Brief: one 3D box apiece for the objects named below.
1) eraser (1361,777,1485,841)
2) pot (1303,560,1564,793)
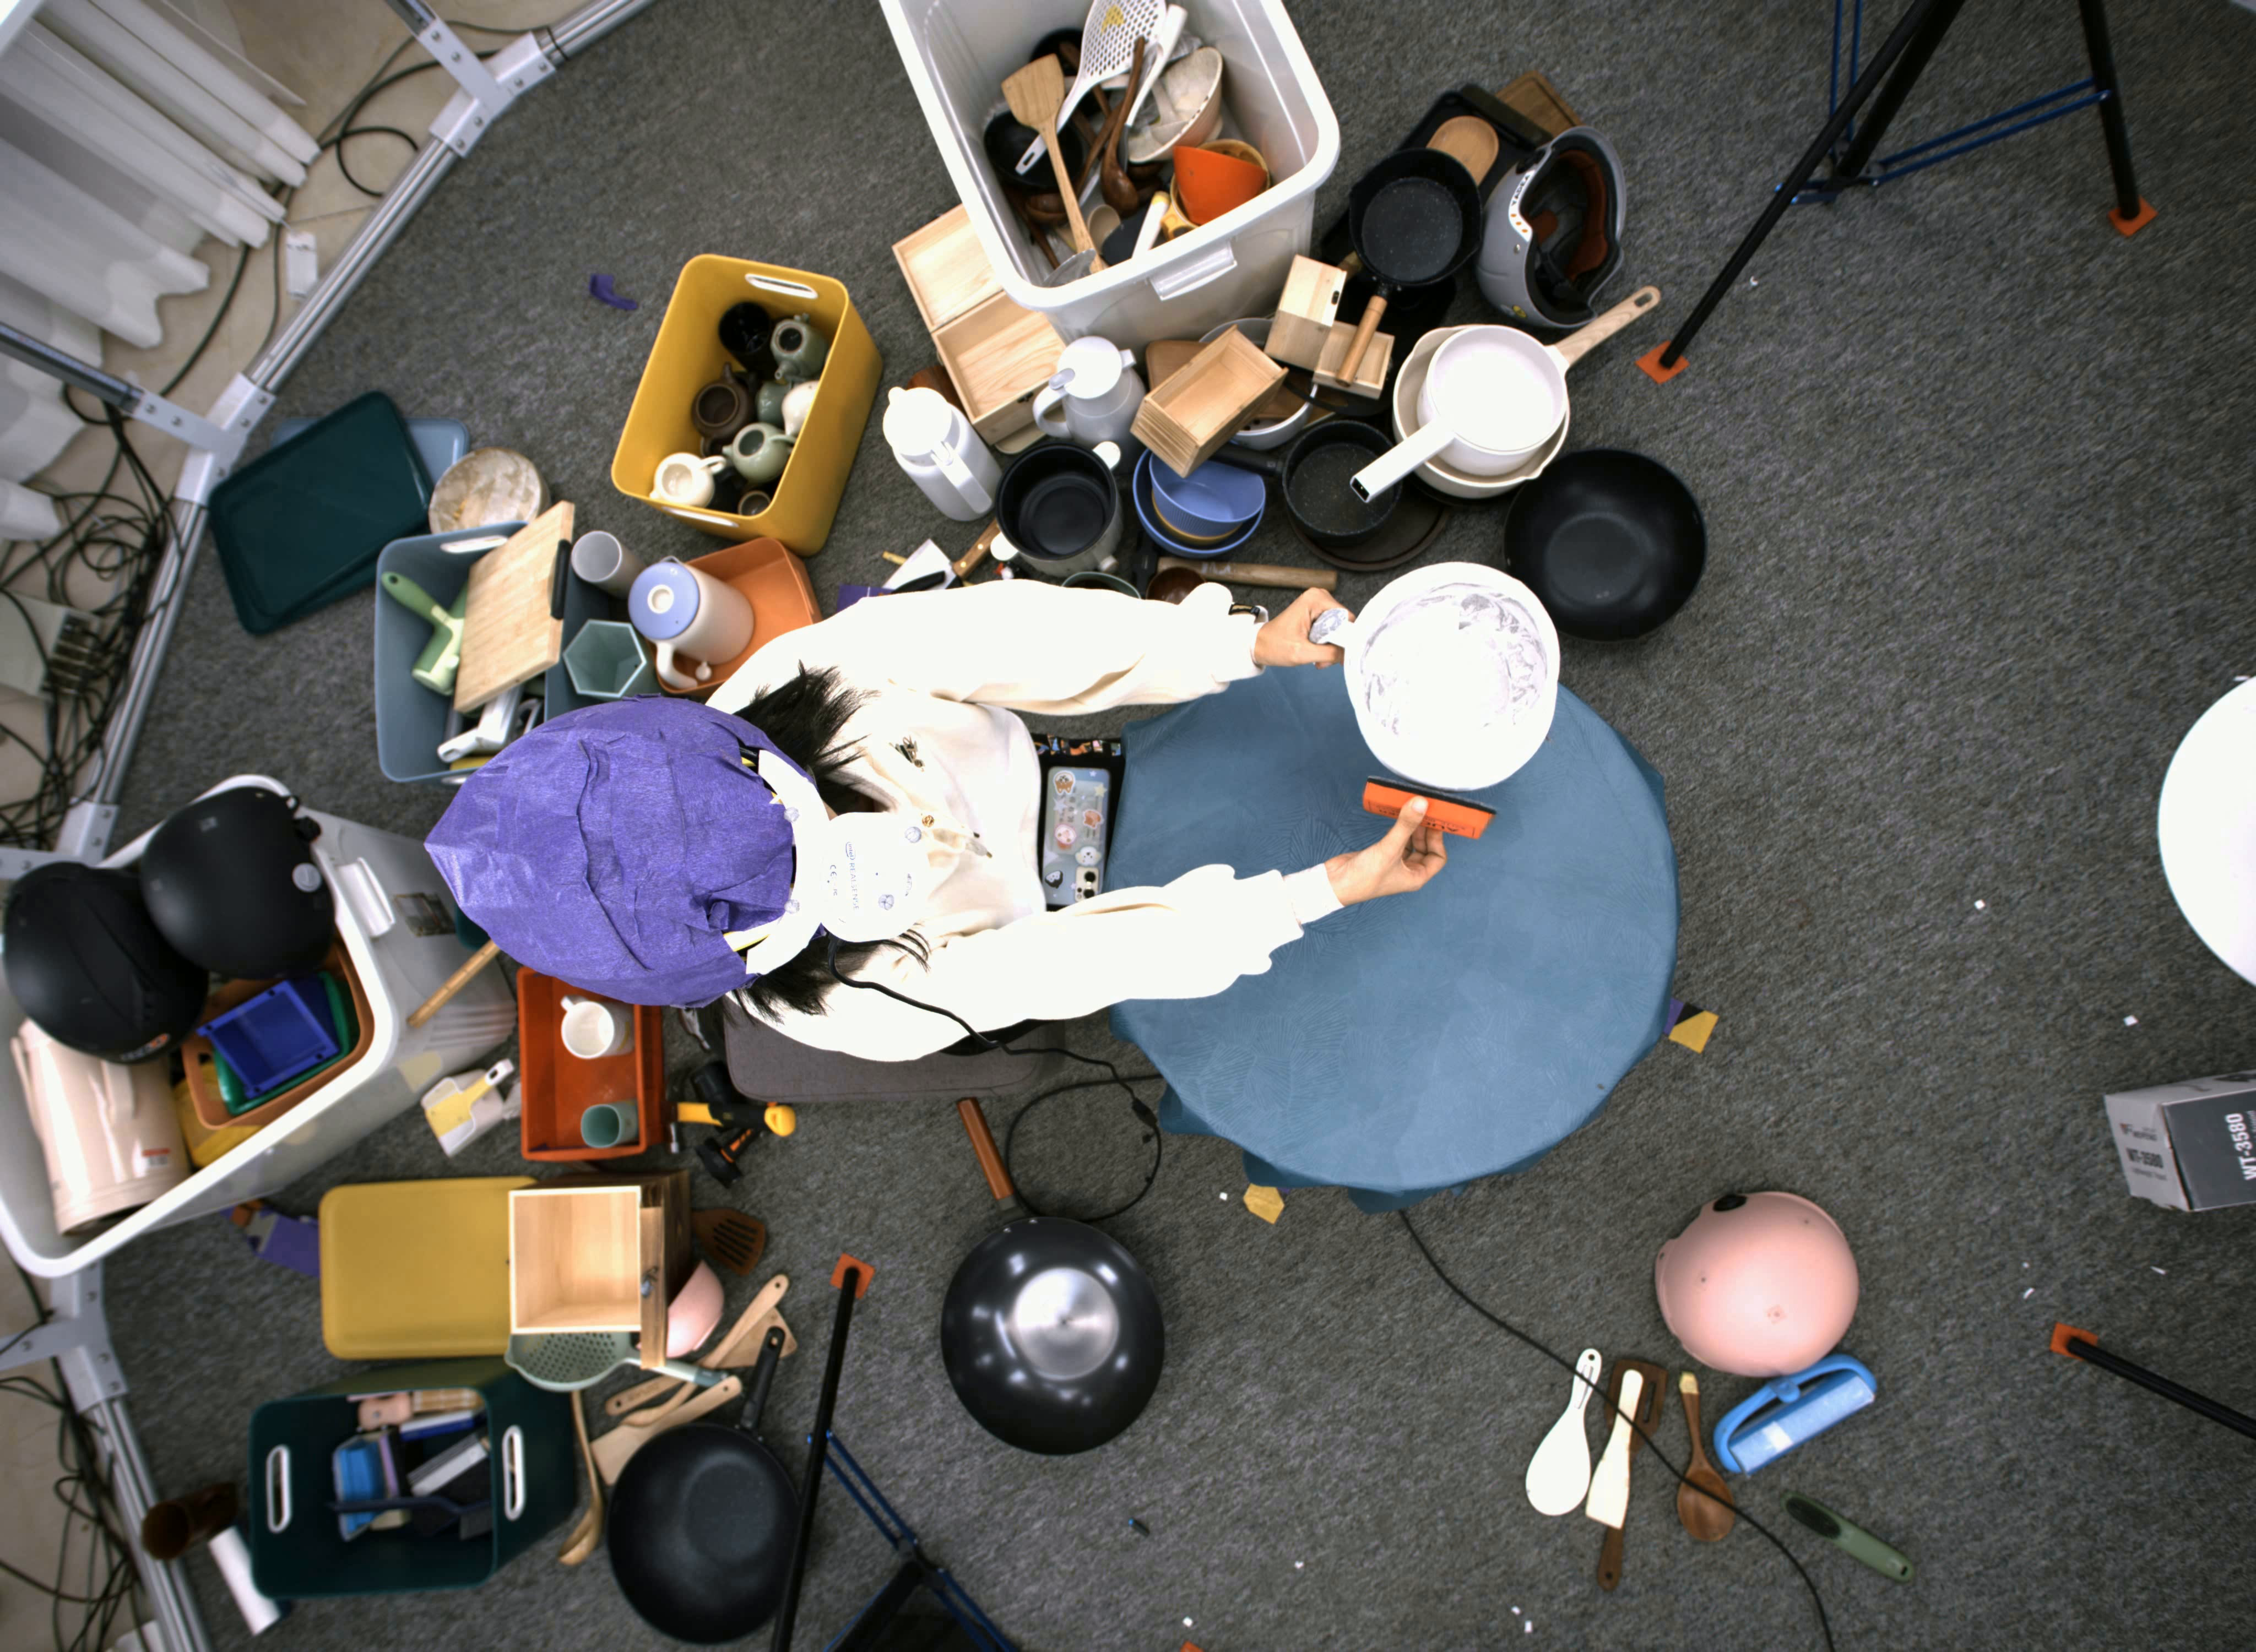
[{"bbox_3d":[0.265,-0.016,1.236,0.108,0.059,0.023,17,84,15],"label":"eraser"},{"bbox_3d":[0.260,-0.136,1.205,0.233,0.137,0.178,23,85,18],"label":"pot"}]
